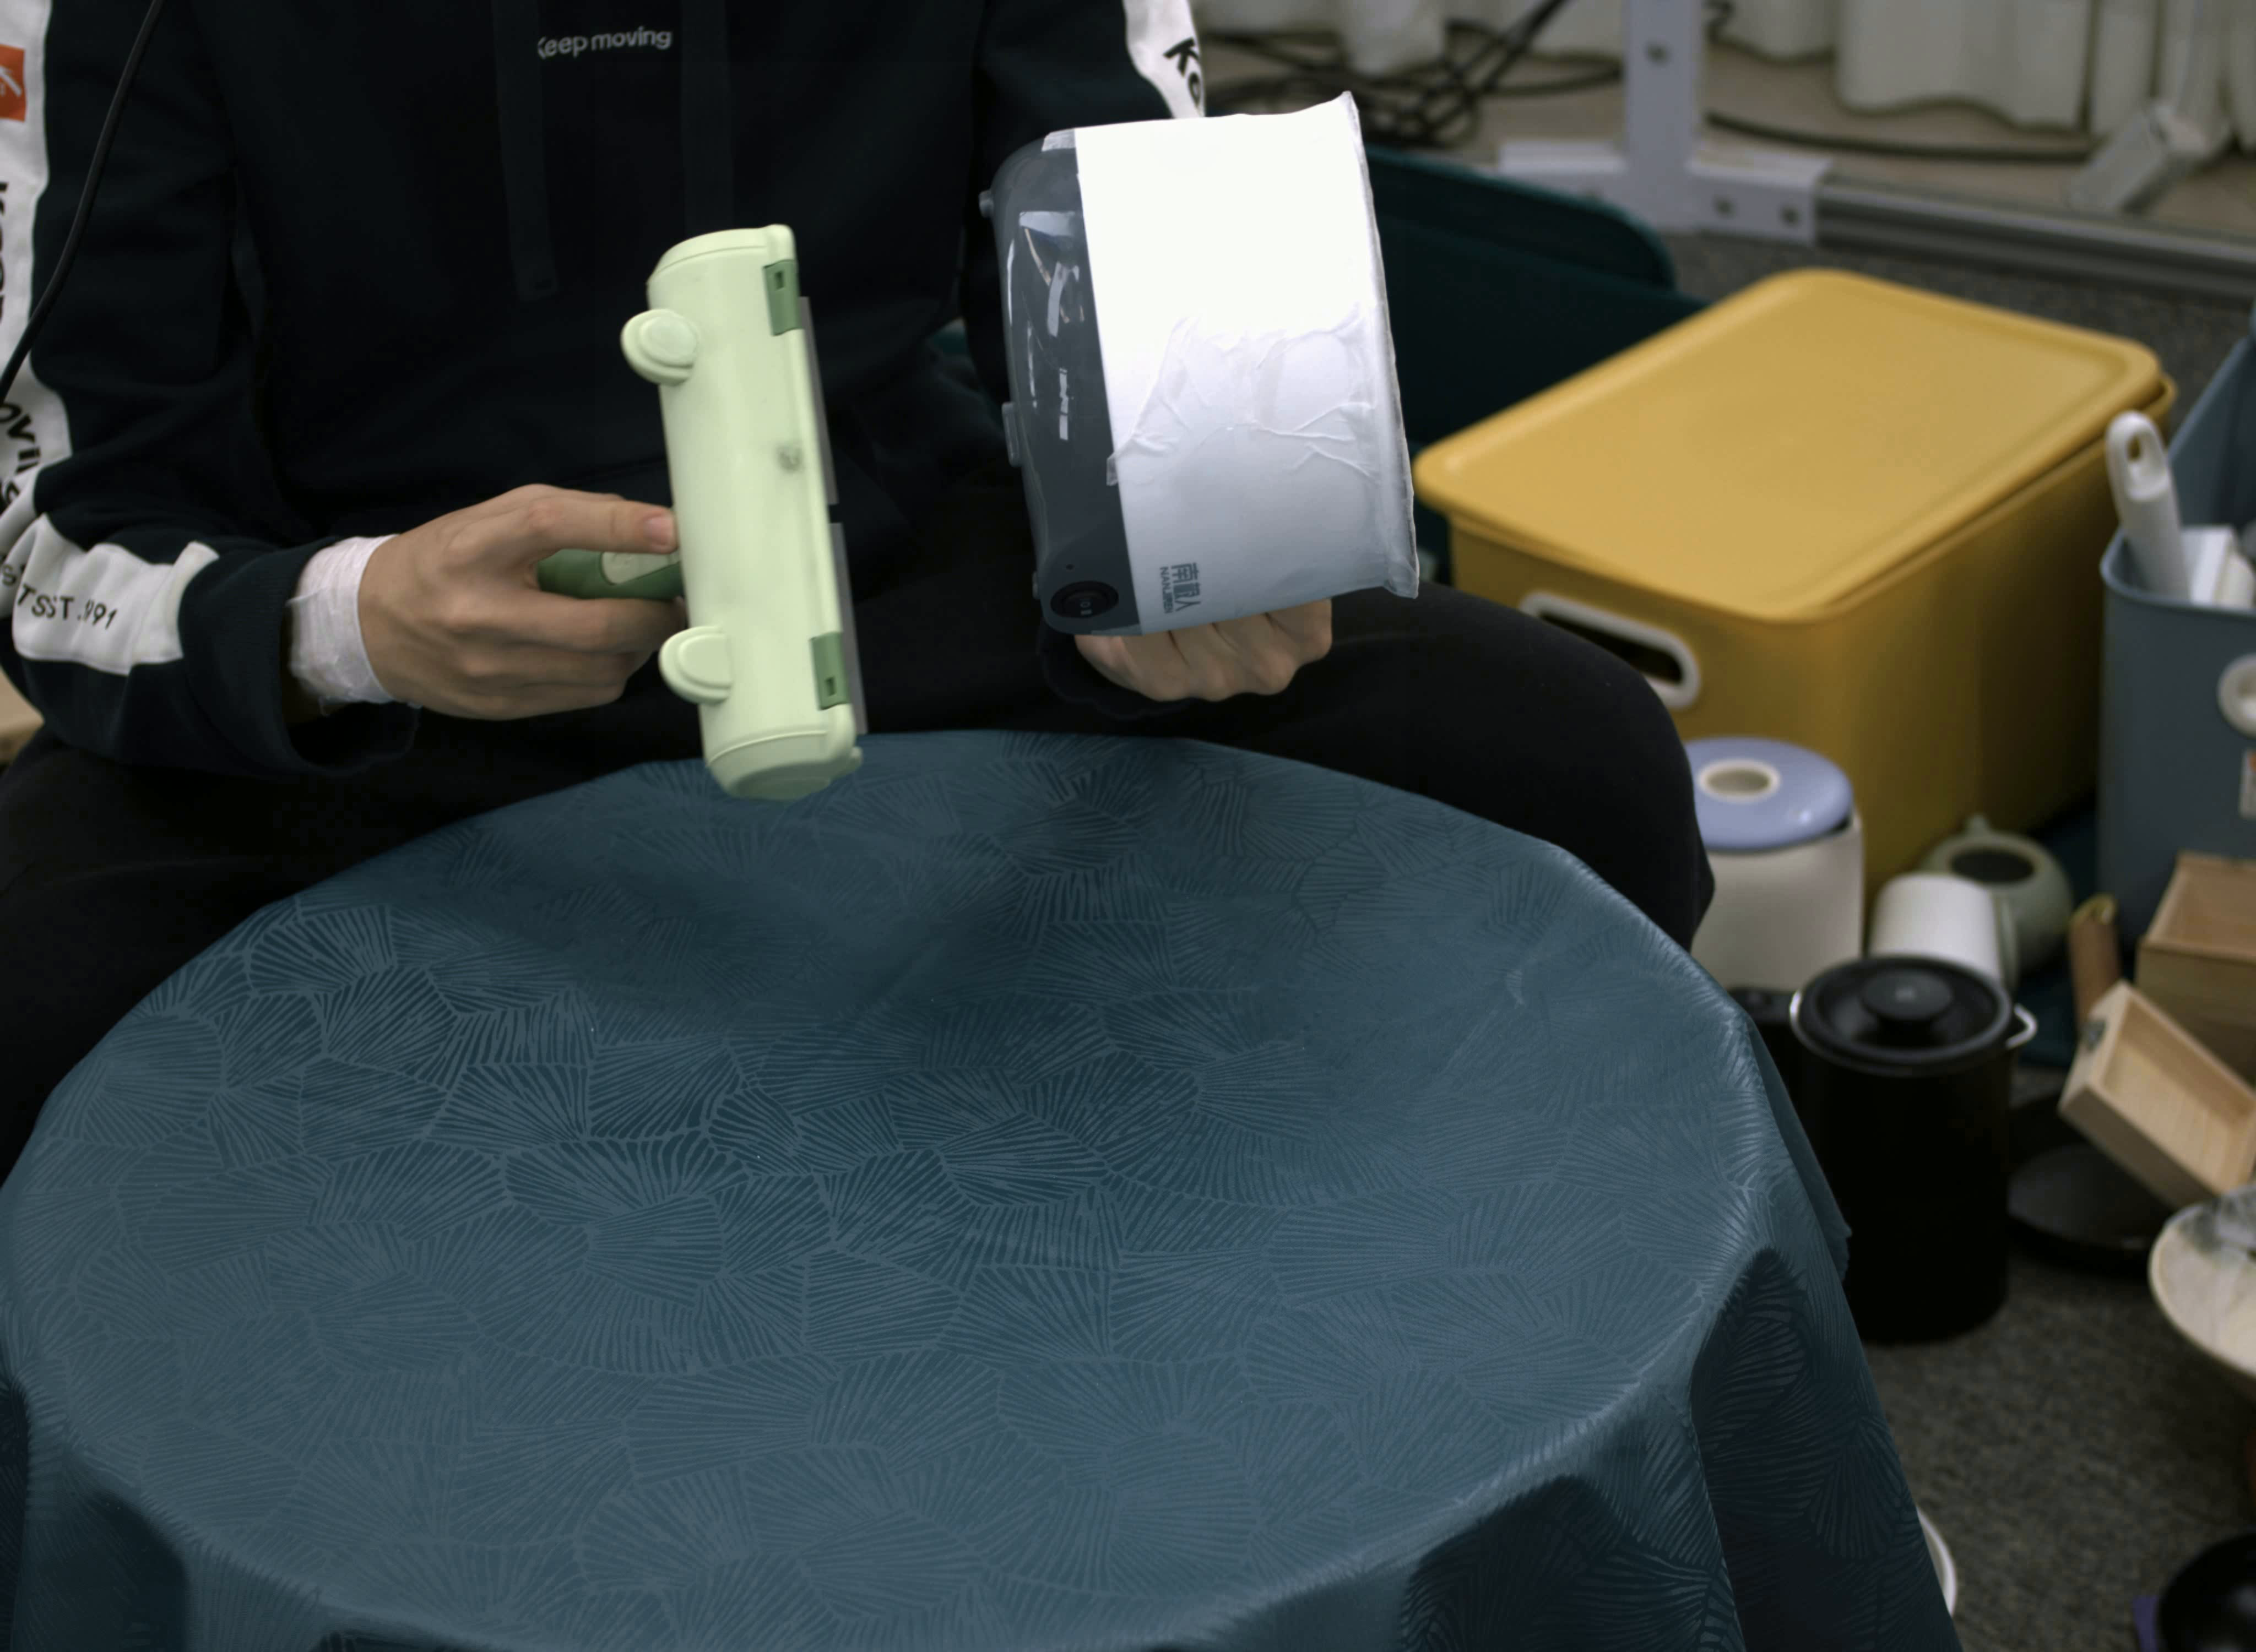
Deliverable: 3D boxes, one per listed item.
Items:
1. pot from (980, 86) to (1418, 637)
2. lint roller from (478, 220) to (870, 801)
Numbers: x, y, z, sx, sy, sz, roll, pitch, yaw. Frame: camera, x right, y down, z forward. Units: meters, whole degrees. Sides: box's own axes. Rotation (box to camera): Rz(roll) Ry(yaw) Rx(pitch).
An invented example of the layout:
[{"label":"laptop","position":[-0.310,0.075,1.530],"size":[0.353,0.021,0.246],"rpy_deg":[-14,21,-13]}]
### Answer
[{"label":"pot","position":[0.028,-0.145,1.973],"size":[0.136,0.230,0.182],"rpy_deg":[-7,60,2]},{"label":"lint roller","position":[-0.175,-0.096,1.968],"size":[0.181,0.201,0.082],"rpy_deg":[-17,-18,30]}]
